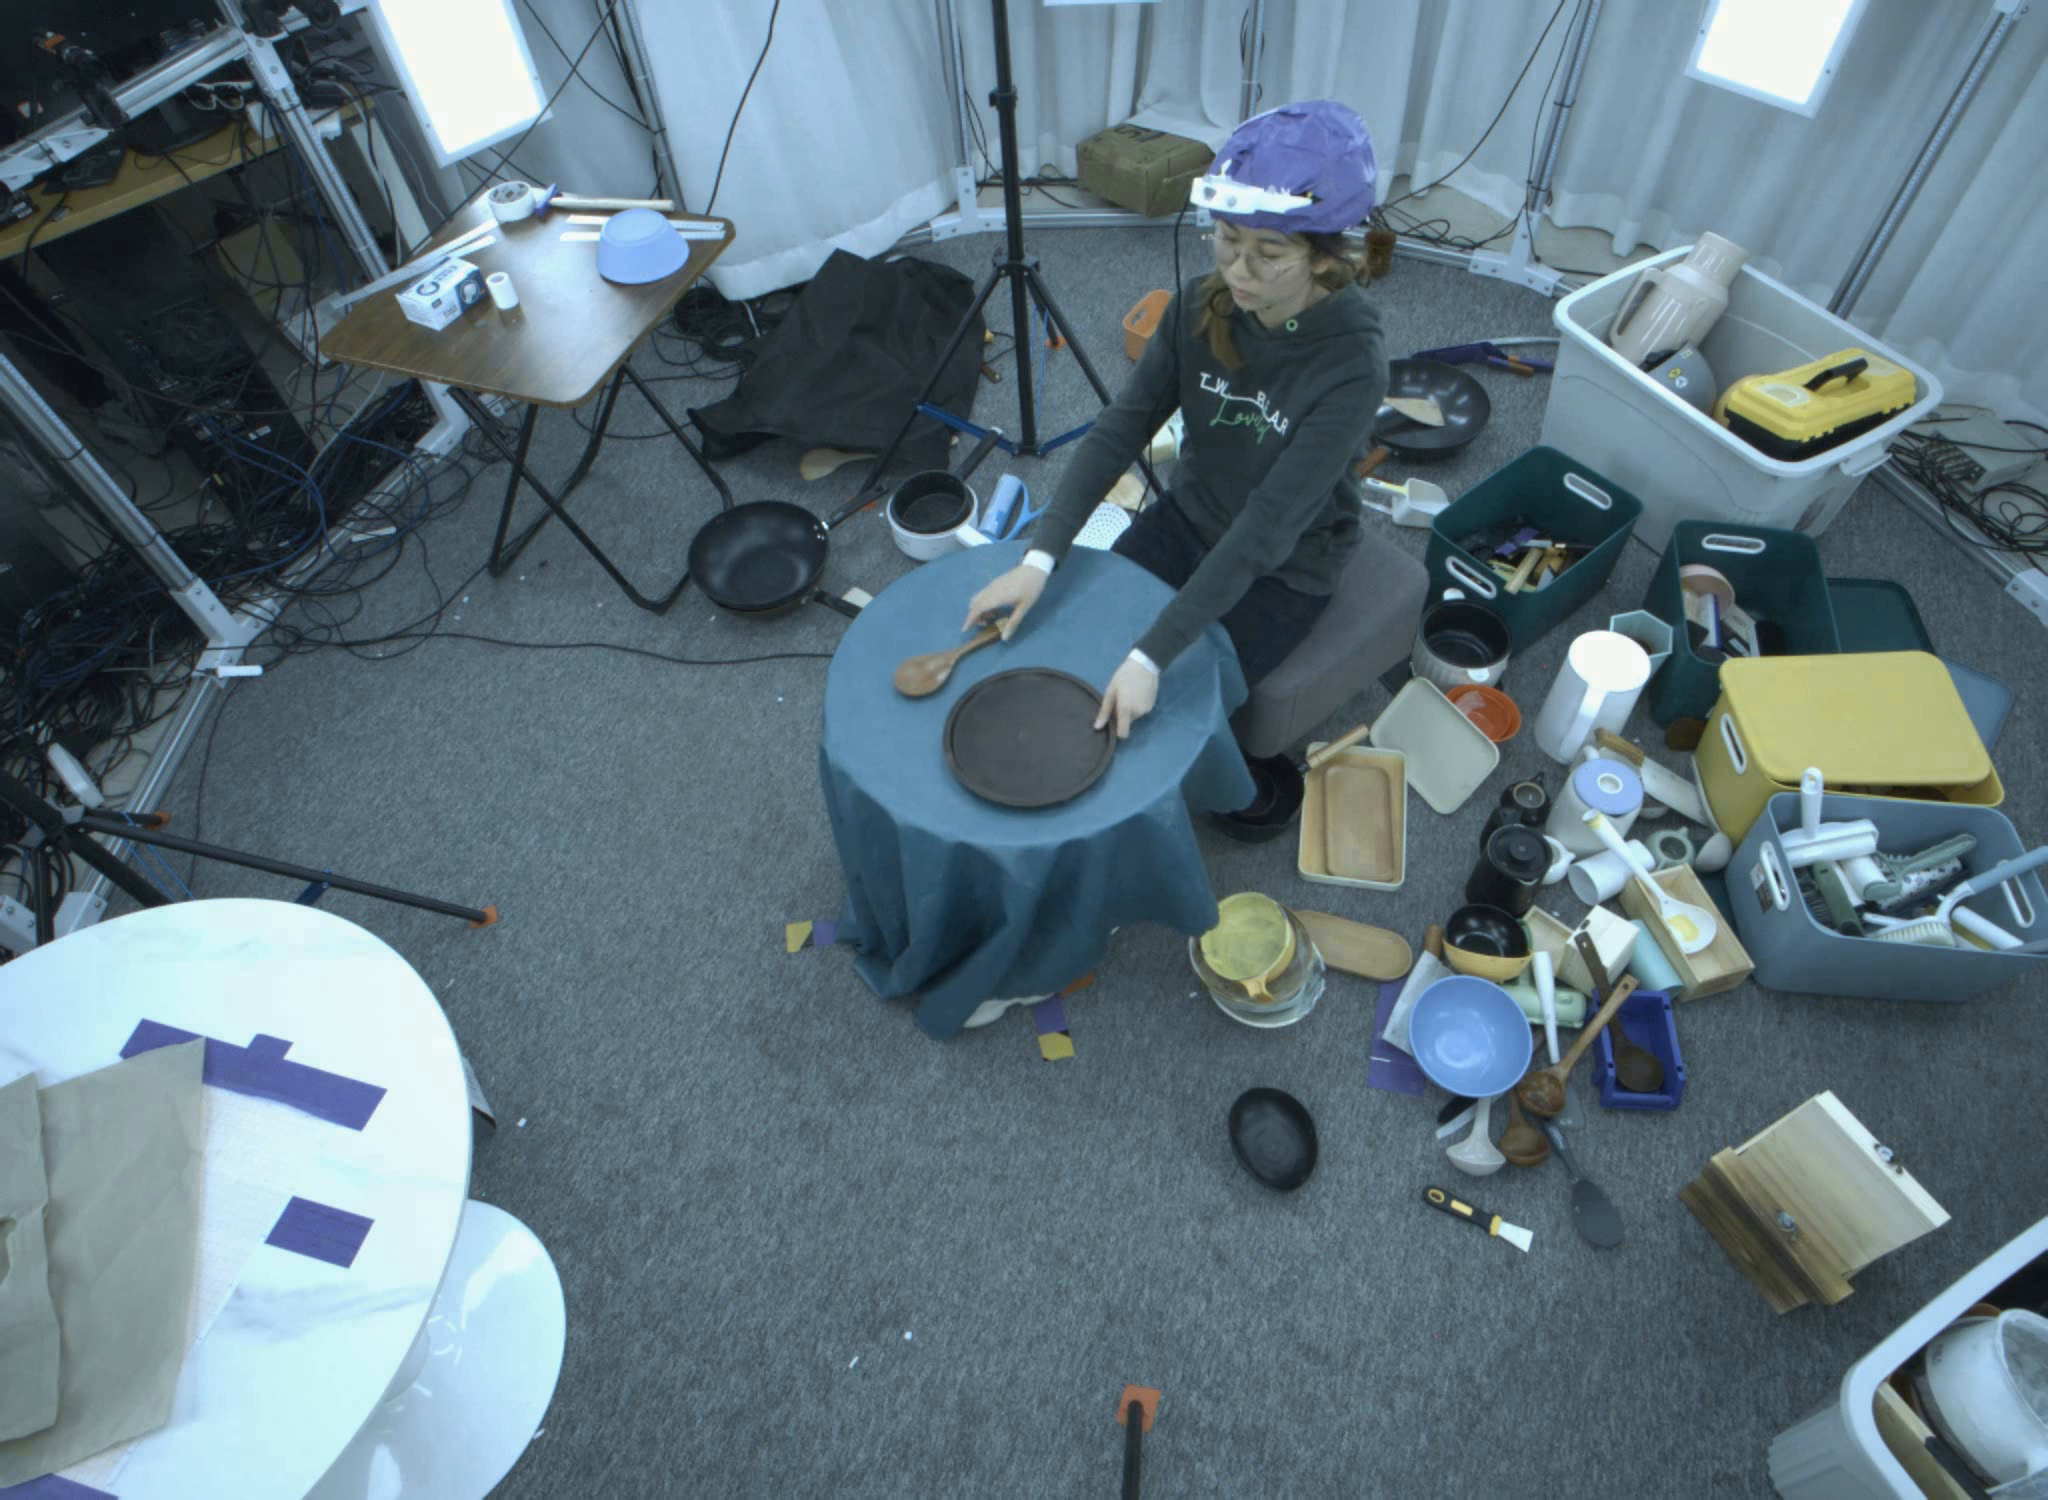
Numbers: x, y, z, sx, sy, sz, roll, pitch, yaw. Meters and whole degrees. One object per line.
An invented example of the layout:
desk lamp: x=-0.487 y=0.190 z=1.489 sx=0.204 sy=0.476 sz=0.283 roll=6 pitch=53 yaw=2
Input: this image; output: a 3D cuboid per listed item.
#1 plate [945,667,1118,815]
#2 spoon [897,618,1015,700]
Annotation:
plate: x=0.011 y=-0.013 z=1.793 sx=0.254 sy=0.029 sz=0.252 roll=0 pitch=56 yaw=2
spoon: x=-0.101 y=-0.141 z=1.889 sx=0.217 sy=0.017 sz=0.074 roll=-35 pitch=61 yaw=-21
